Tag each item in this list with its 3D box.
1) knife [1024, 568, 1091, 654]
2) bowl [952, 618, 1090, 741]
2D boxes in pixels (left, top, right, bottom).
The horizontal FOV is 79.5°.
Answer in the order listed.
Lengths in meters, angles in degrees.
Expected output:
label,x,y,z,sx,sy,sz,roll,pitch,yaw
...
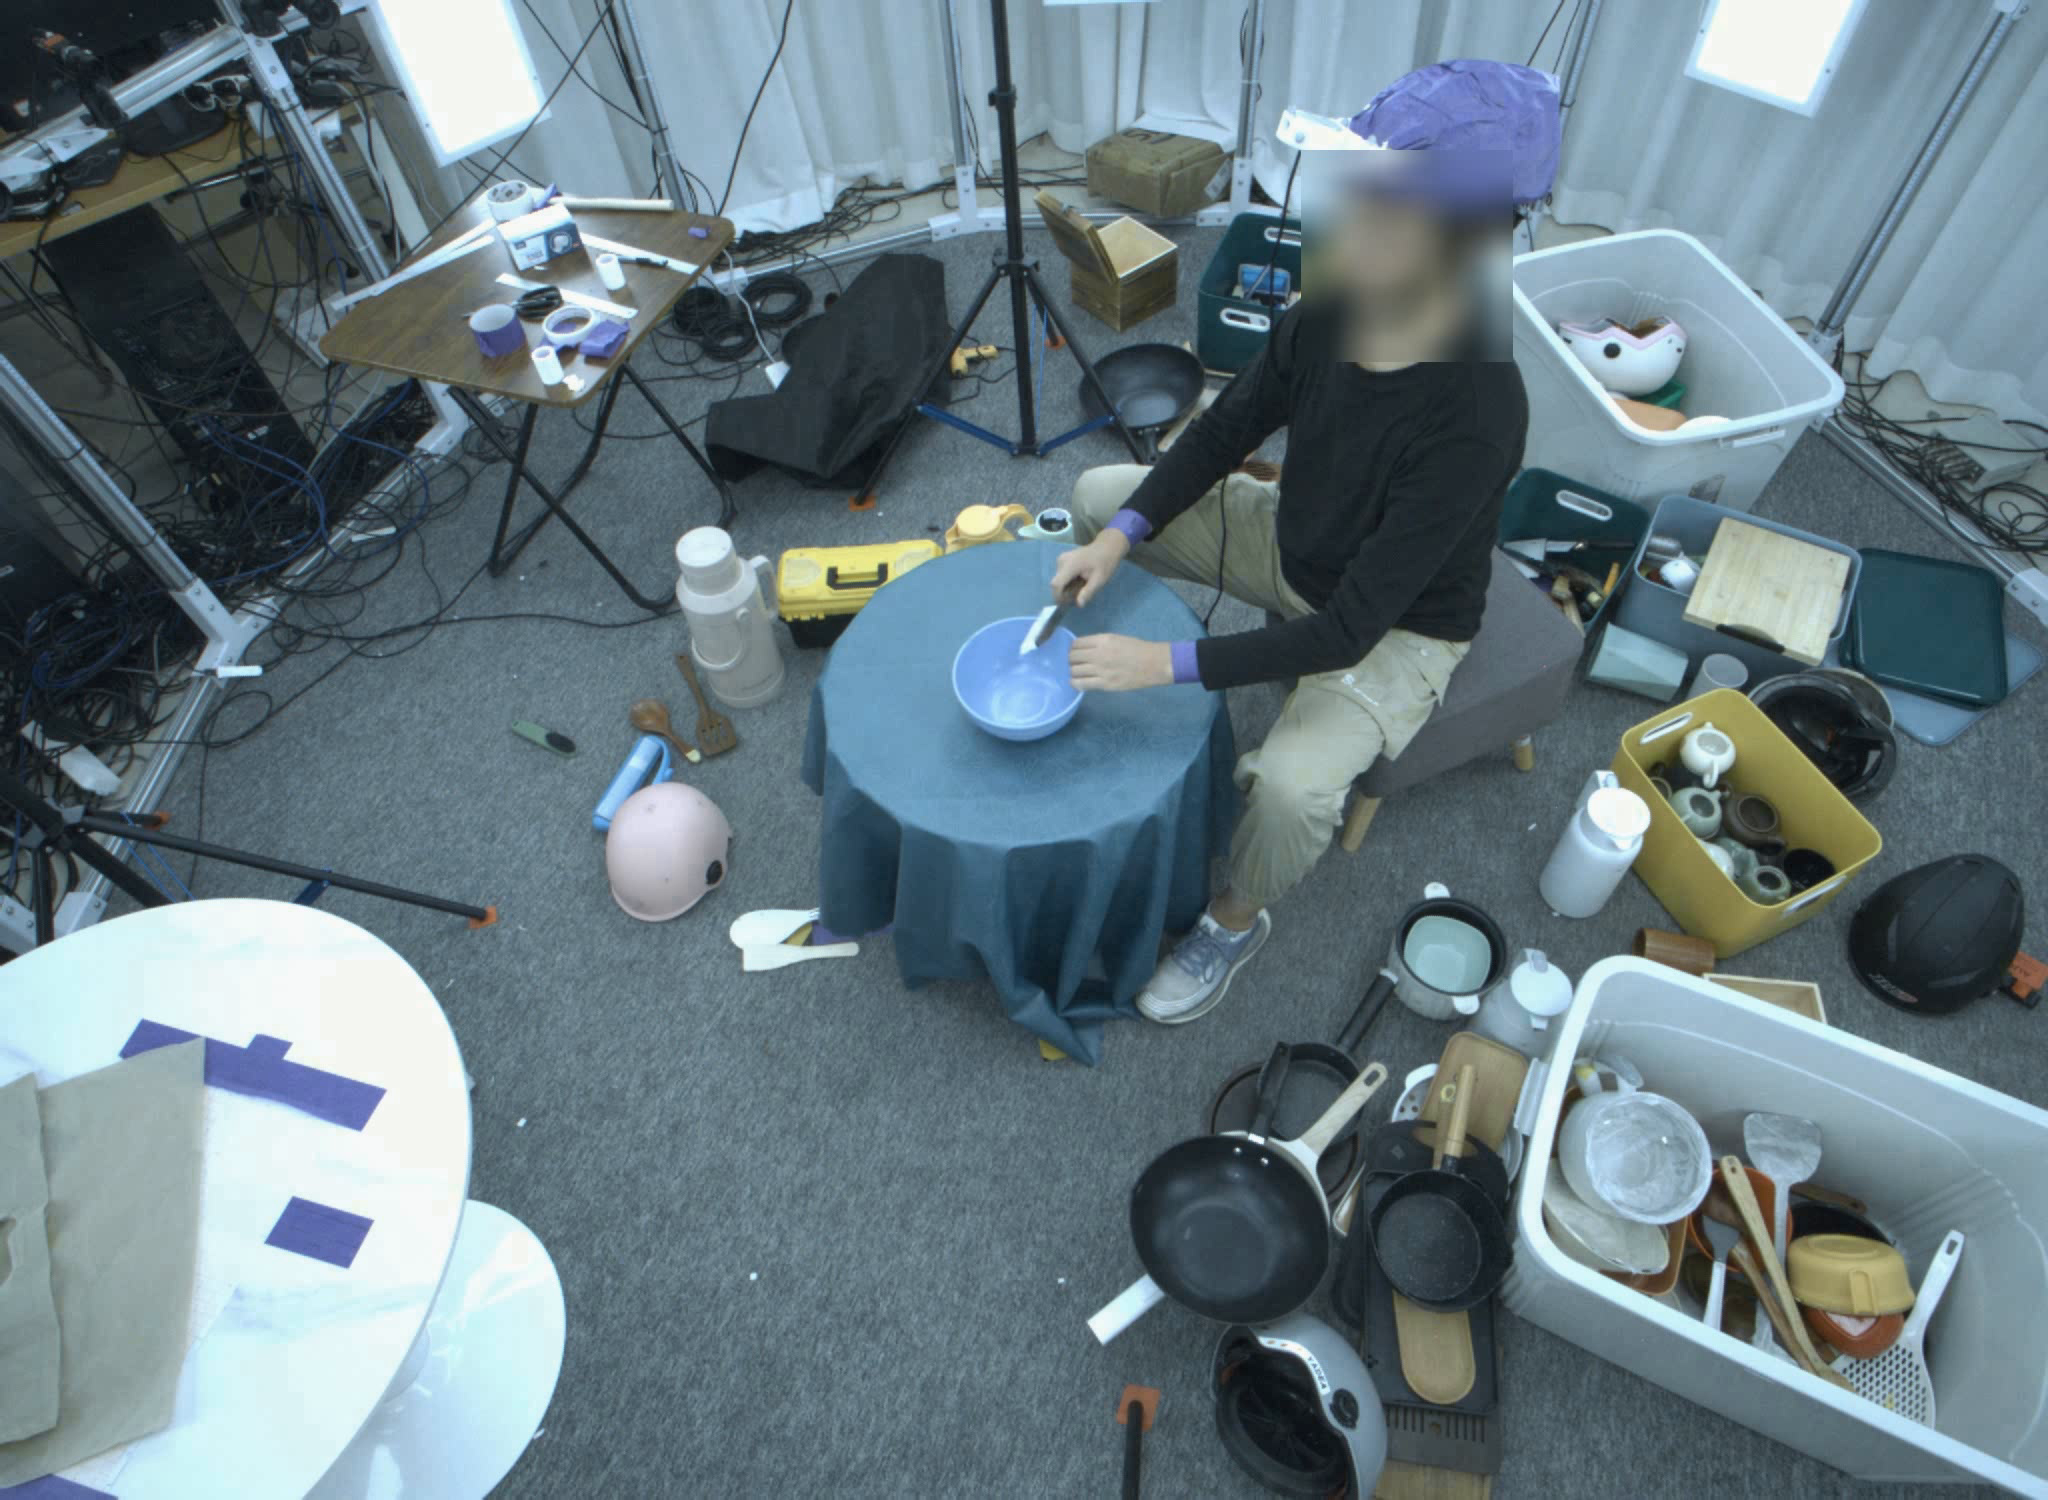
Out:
label,x,y,z,sx,sy,sz,roll,pitch,yaw
knife,0.050,-0.203,1.795,0.049,0.020,0.289,-8,27,25
bowl,-0.002,-0.087,1.786,0.196,0.096,0.194,0,58,2
